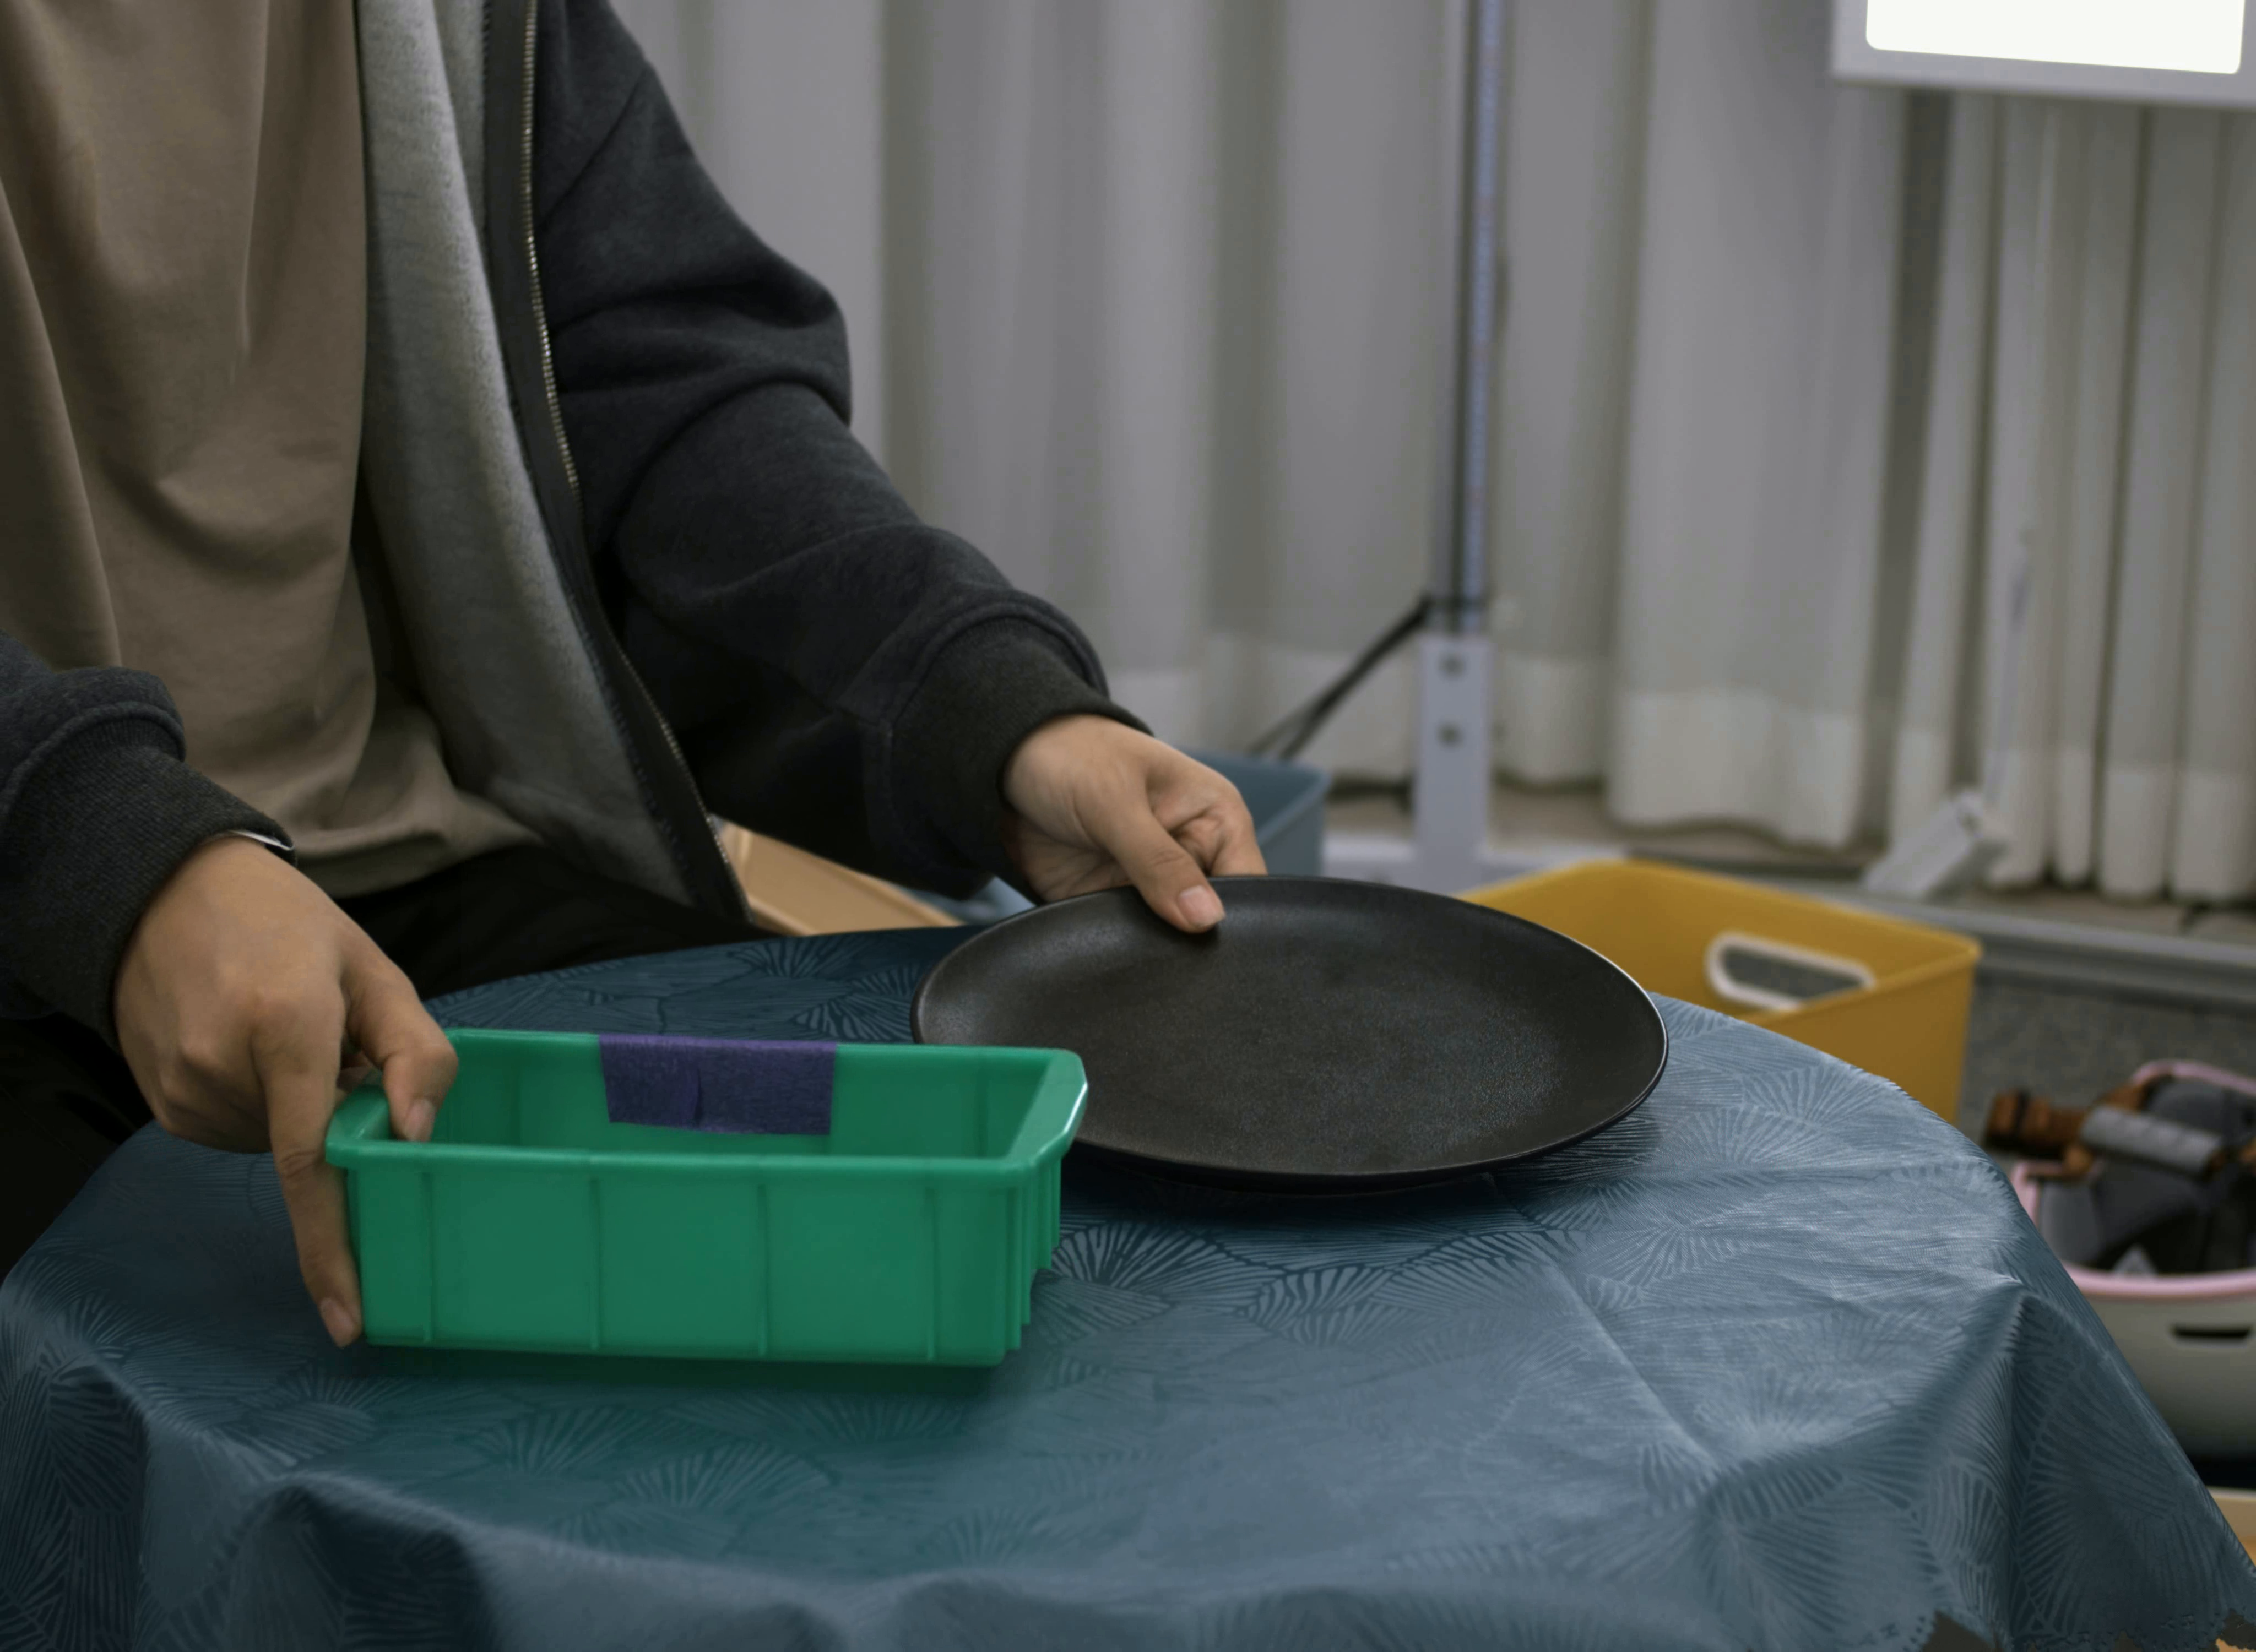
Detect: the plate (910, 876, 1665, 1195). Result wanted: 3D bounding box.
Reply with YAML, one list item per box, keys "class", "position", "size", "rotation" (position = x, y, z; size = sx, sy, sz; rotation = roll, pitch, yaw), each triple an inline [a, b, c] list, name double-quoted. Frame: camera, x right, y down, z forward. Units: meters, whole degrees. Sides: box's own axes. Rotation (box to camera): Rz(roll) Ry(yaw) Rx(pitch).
- class: "plate"
  position: [0.051, 0.071, 1.697]
  size: [0.243, 0.023, 0.243]
  rotation: [2, 21, 0]

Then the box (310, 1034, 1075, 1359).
- class: "box"
  position: [-0.121, 0.105, 1.503]
  size: [0.209, 0.066, 0.138]
  rotation: [0, 10, 4]
